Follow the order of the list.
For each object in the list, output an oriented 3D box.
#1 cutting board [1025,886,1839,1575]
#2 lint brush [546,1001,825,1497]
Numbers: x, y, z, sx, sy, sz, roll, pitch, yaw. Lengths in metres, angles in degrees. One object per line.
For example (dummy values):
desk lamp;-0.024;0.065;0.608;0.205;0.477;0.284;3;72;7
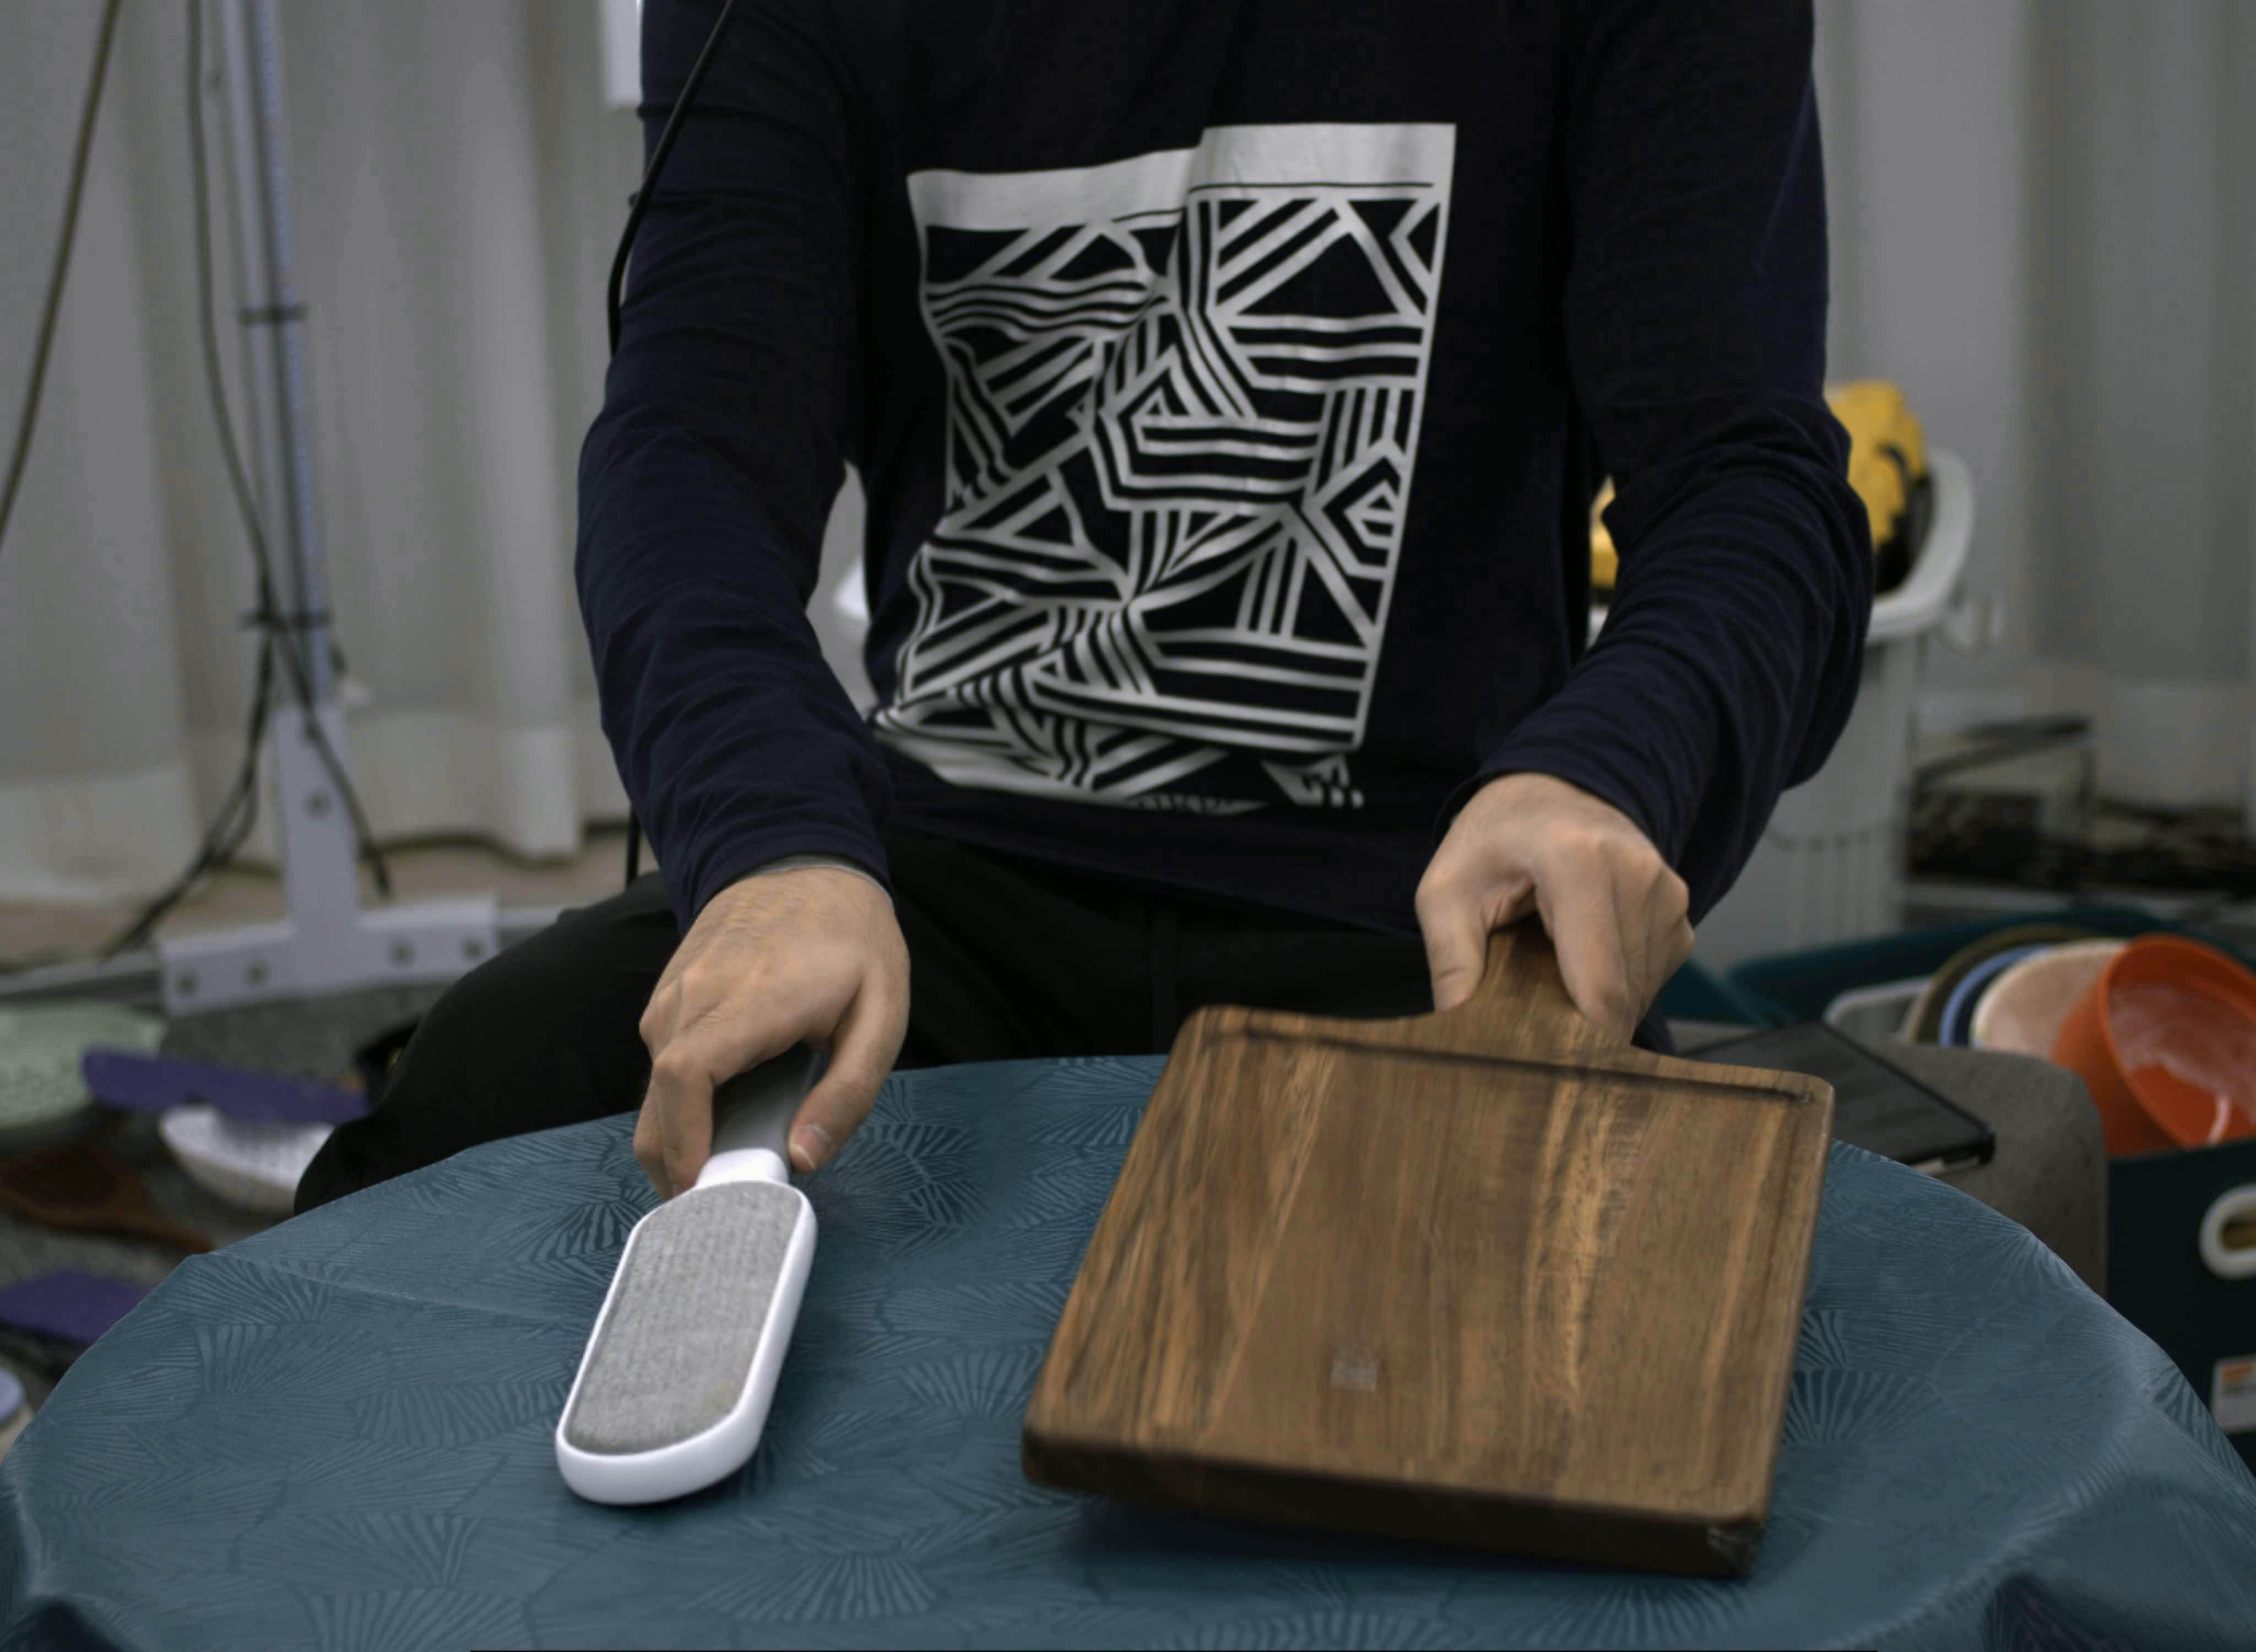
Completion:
cutting board;0.100;0.100;1.560;0.201;0.023;0.355;7;25;9
lint brush;-0.120;0.118;1.612;0.060;0.021;0.311;-16;19;11
